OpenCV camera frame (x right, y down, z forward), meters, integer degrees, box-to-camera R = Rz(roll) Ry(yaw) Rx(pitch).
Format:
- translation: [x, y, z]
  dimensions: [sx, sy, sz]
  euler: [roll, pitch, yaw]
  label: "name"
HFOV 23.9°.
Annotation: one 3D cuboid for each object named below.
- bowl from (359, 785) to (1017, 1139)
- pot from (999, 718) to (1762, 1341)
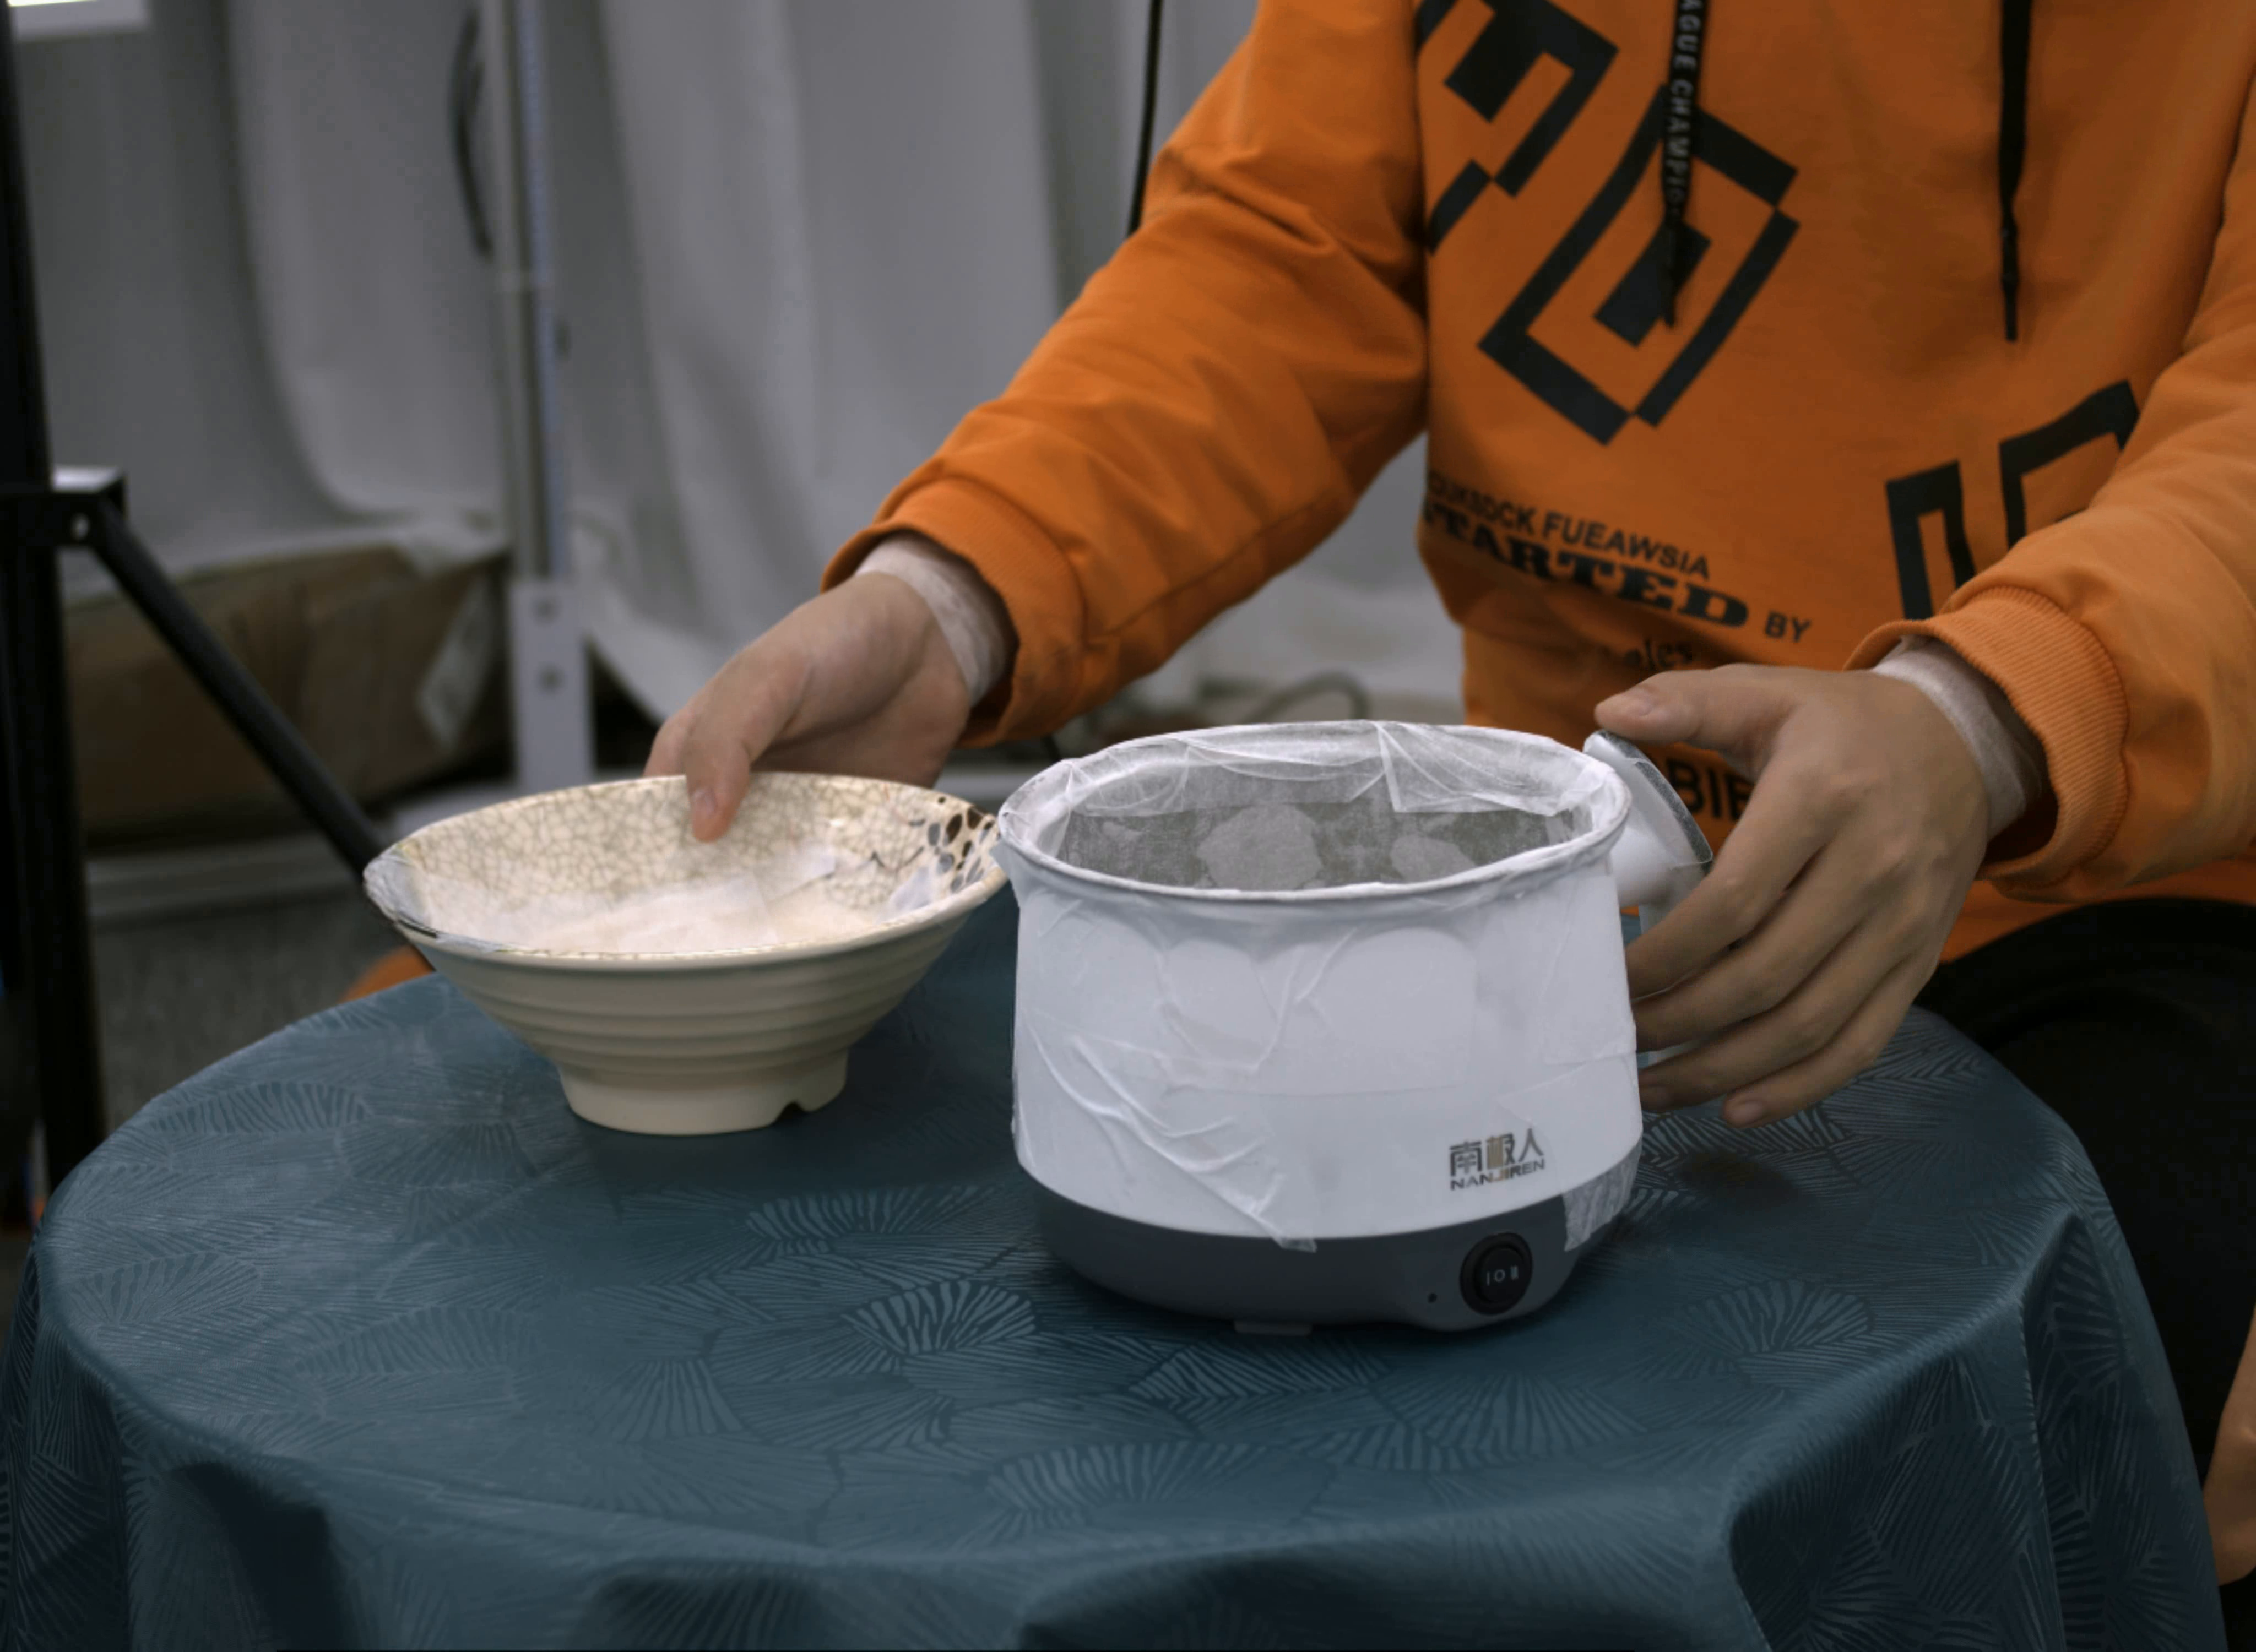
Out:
- translation: [-0.135, 0.048, 1.657]
  dimensions: [0.203, 0.078, 0.205]
  euler: [-2, 14, -1]
  label: "bowl"
- translation: [0.078, 0.050, 1.498]
  dimensions: [0.228, 0.136, 0.182]
  euler: [-11, 18, -28]
  label: "pot"
